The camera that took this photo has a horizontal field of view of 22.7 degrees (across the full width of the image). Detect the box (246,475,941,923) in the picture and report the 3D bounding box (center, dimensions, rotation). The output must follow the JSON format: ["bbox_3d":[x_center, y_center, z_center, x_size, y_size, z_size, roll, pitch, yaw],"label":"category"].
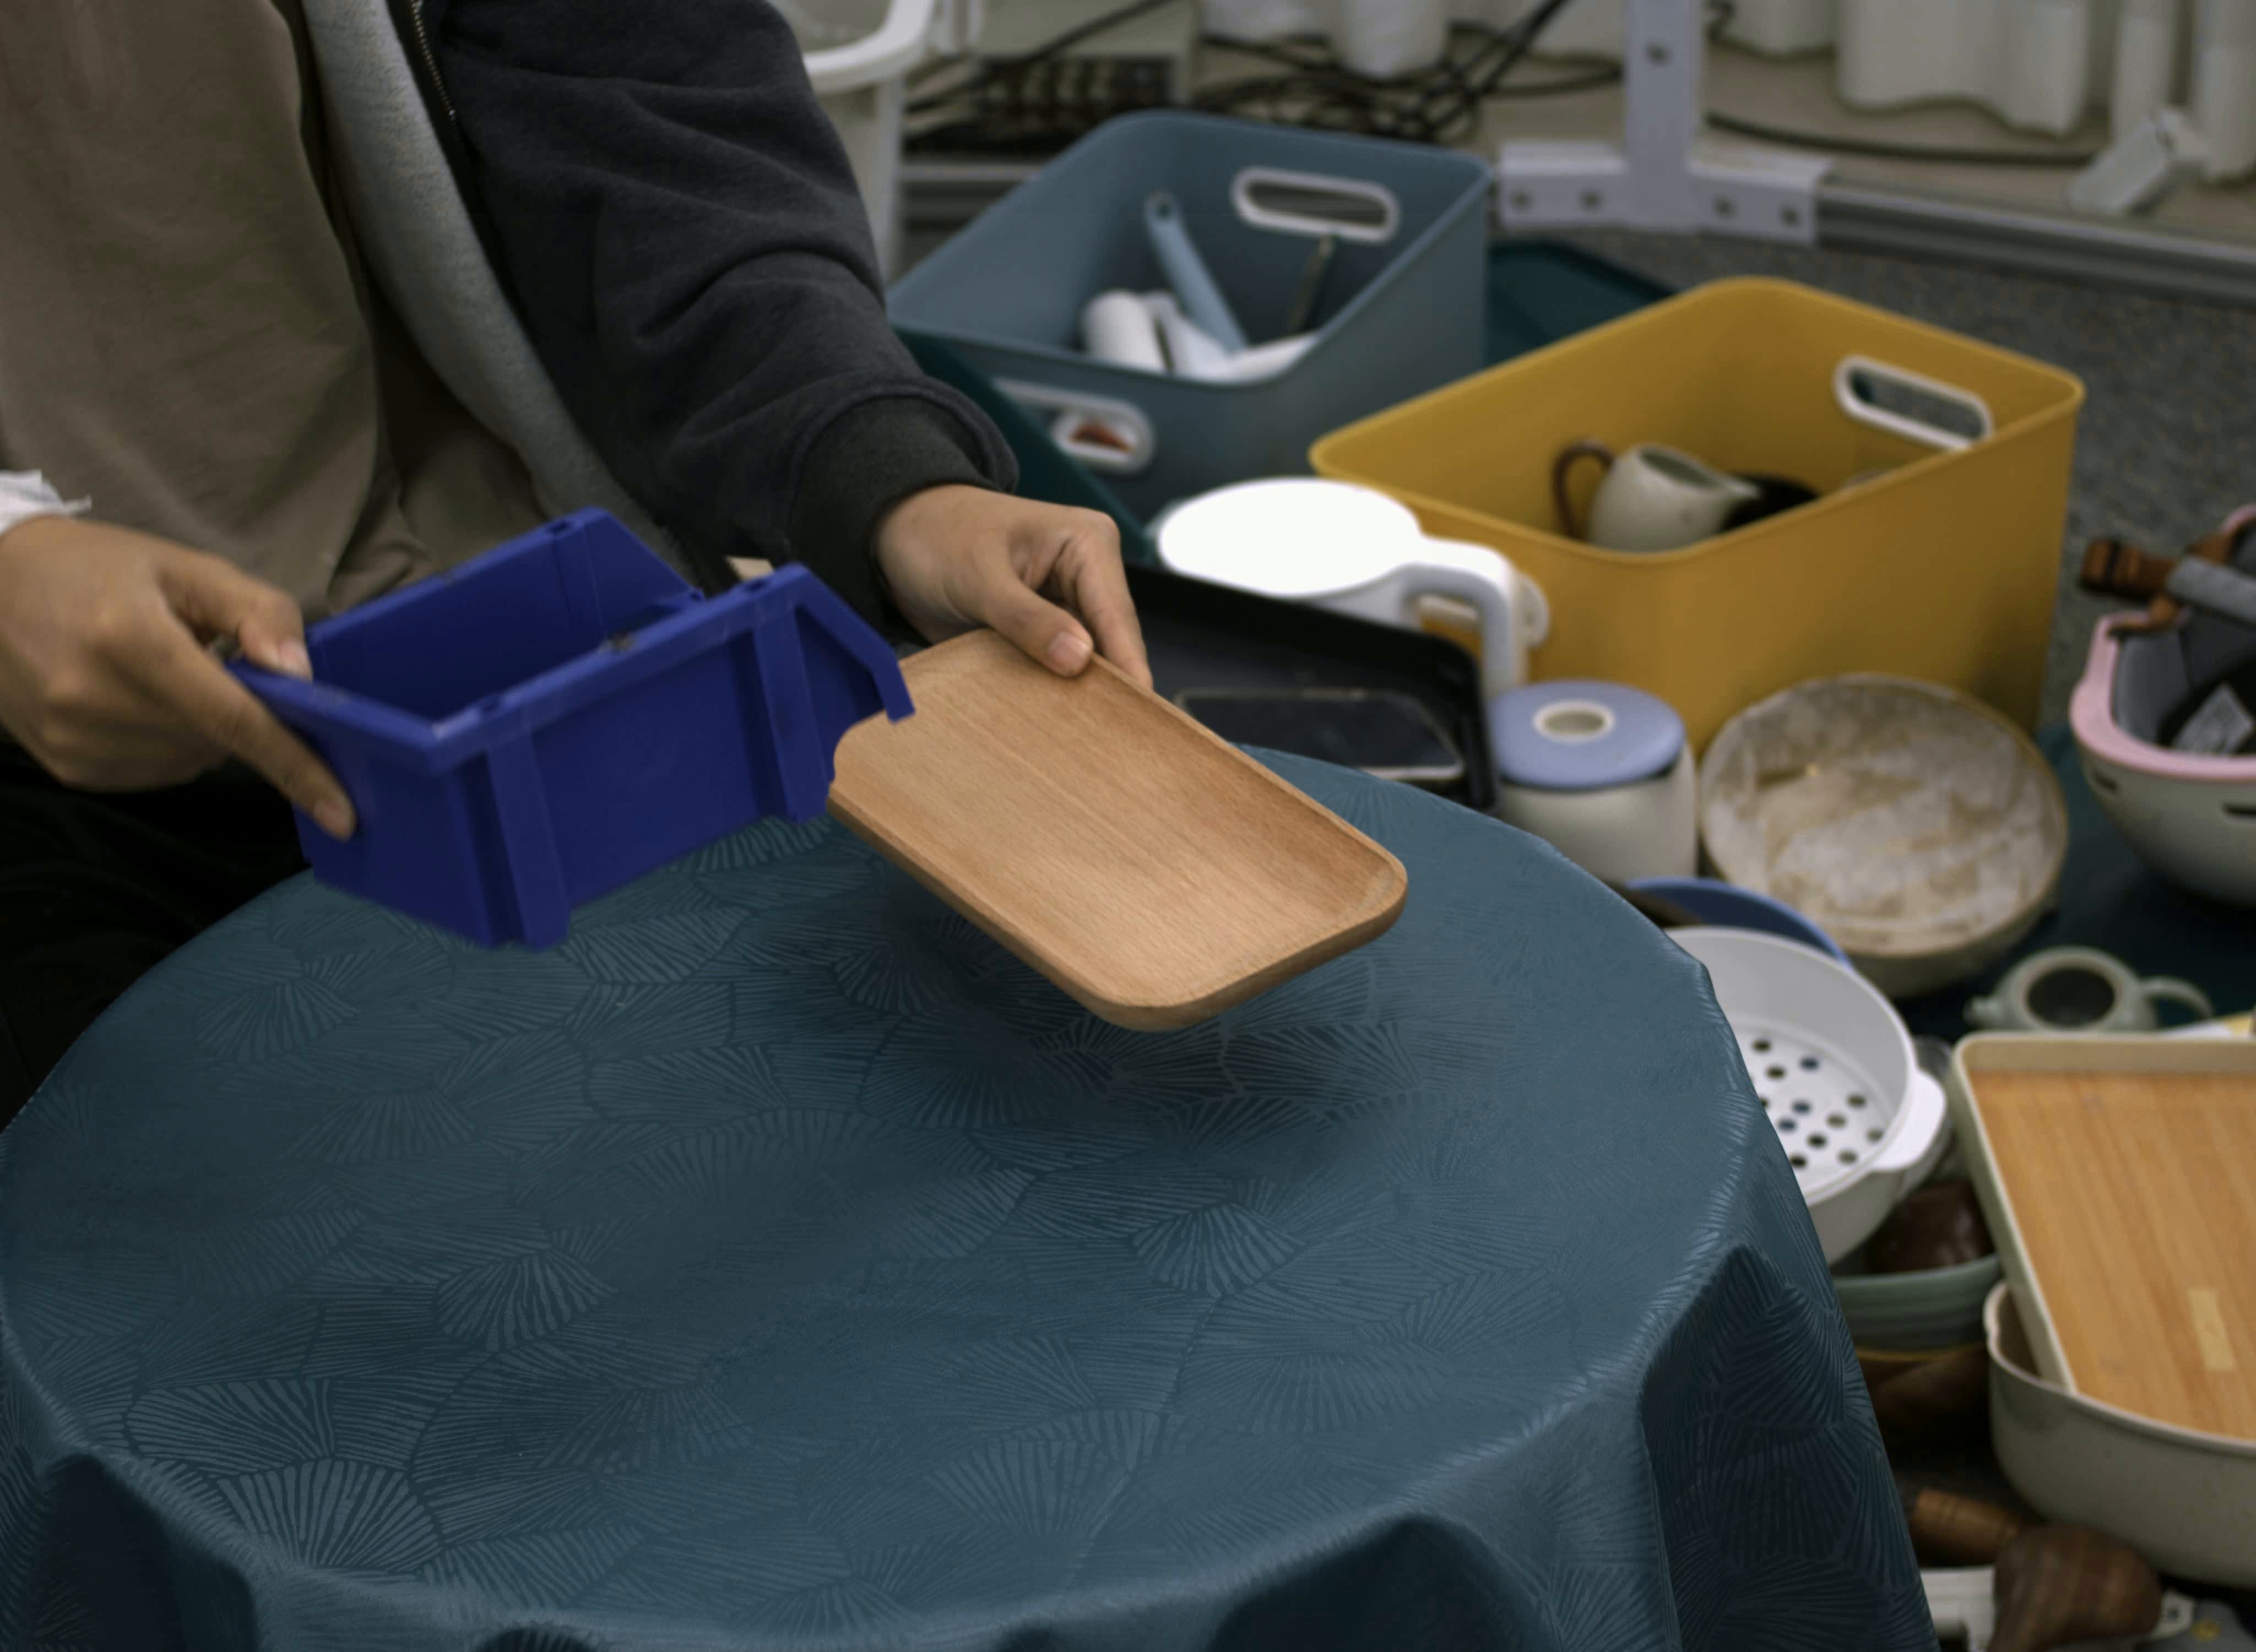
[{"bbox_3d":[-0.169,-0.045,1.798,0.181,0.081,0.124,-28,29,-32],"label":"box"}]

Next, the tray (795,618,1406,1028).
[{"bbox_3d":[-0.018,-0.003,1.954,0.131,0.022,0.251,-21,35,-28],"label":"tray"}]
